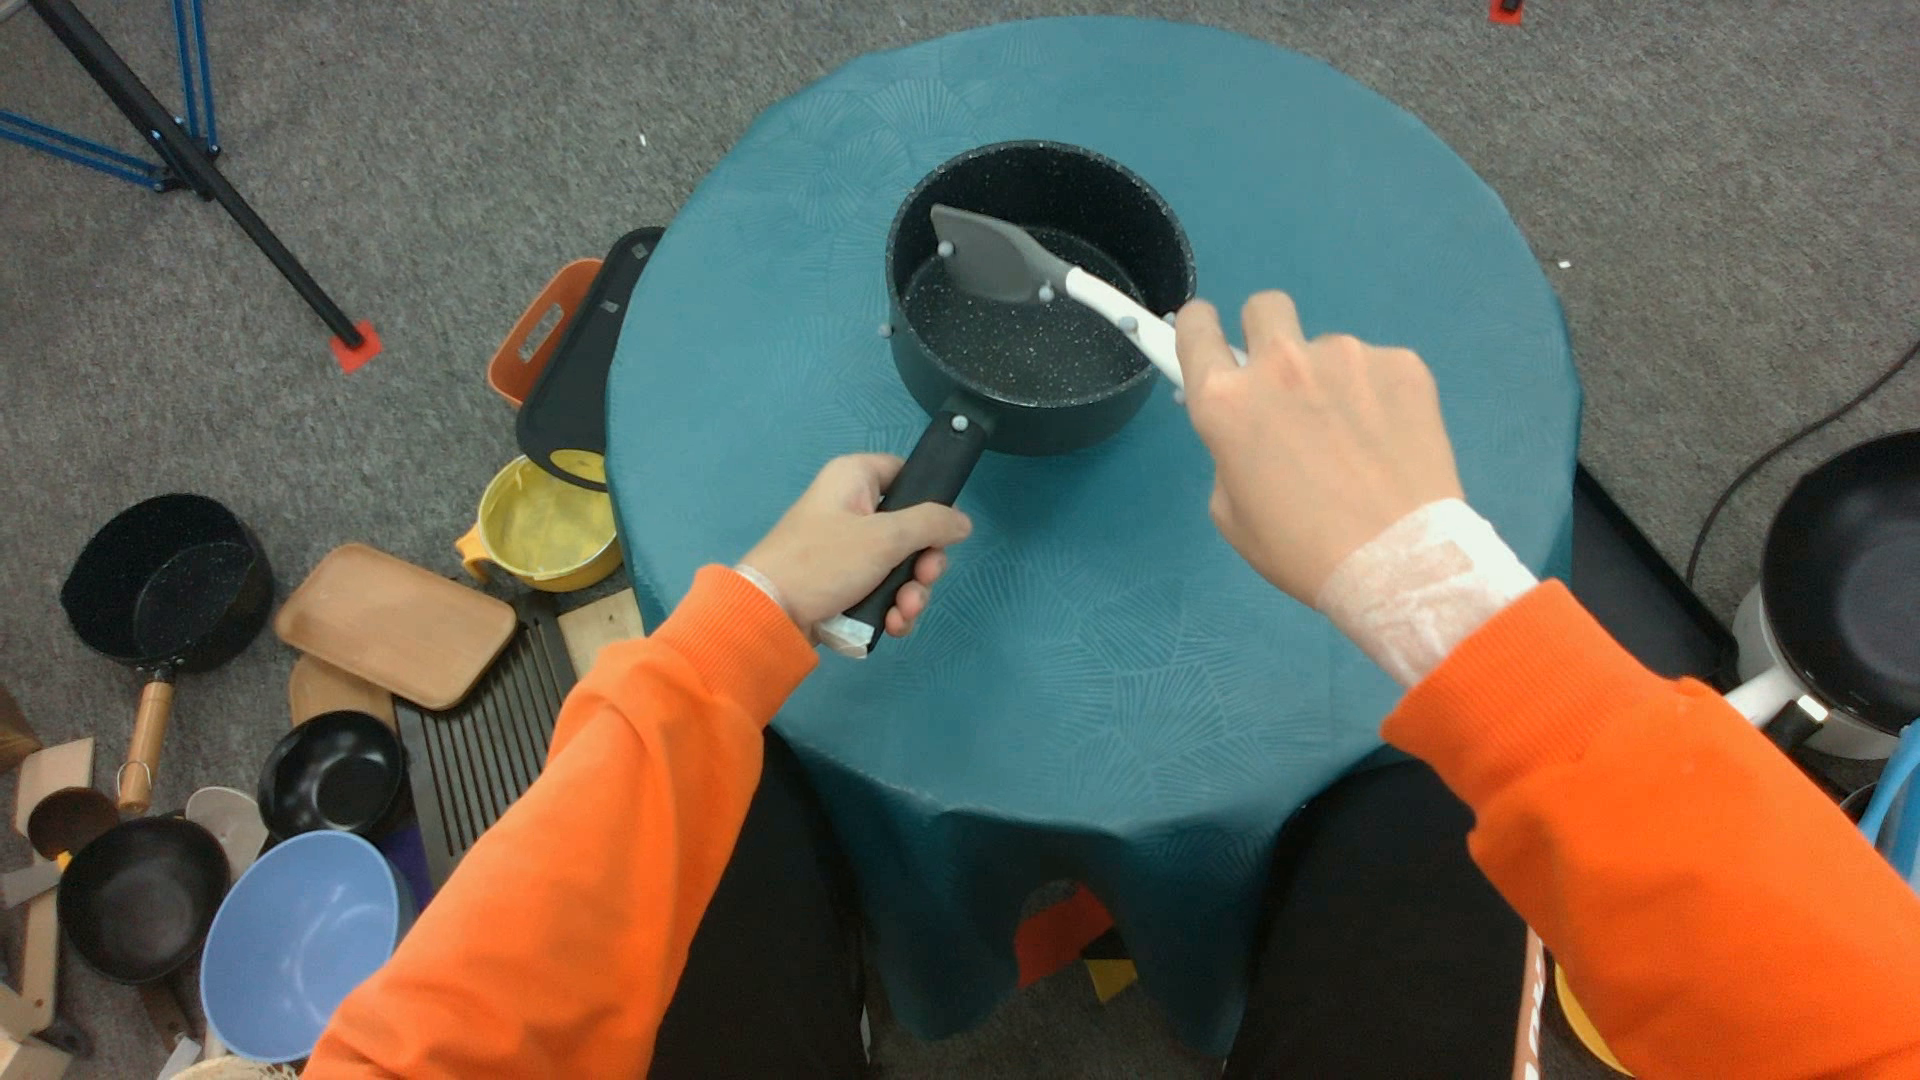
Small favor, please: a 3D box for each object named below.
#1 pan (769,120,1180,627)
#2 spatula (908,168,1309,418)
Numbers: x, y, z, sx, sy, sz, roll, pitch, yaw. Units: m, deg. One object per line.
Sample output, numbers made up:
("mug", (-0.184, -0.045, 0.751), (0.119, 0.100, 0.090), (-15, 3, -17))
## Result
("pan", (-0.003, -0.082, 0.746), (0.172, 0.086, 0.330), (27, 66, 7))
("spatula", (0.055, -0.123, 0.648), (0.032, 0.058, 0.288), (-34, 39, -13))
